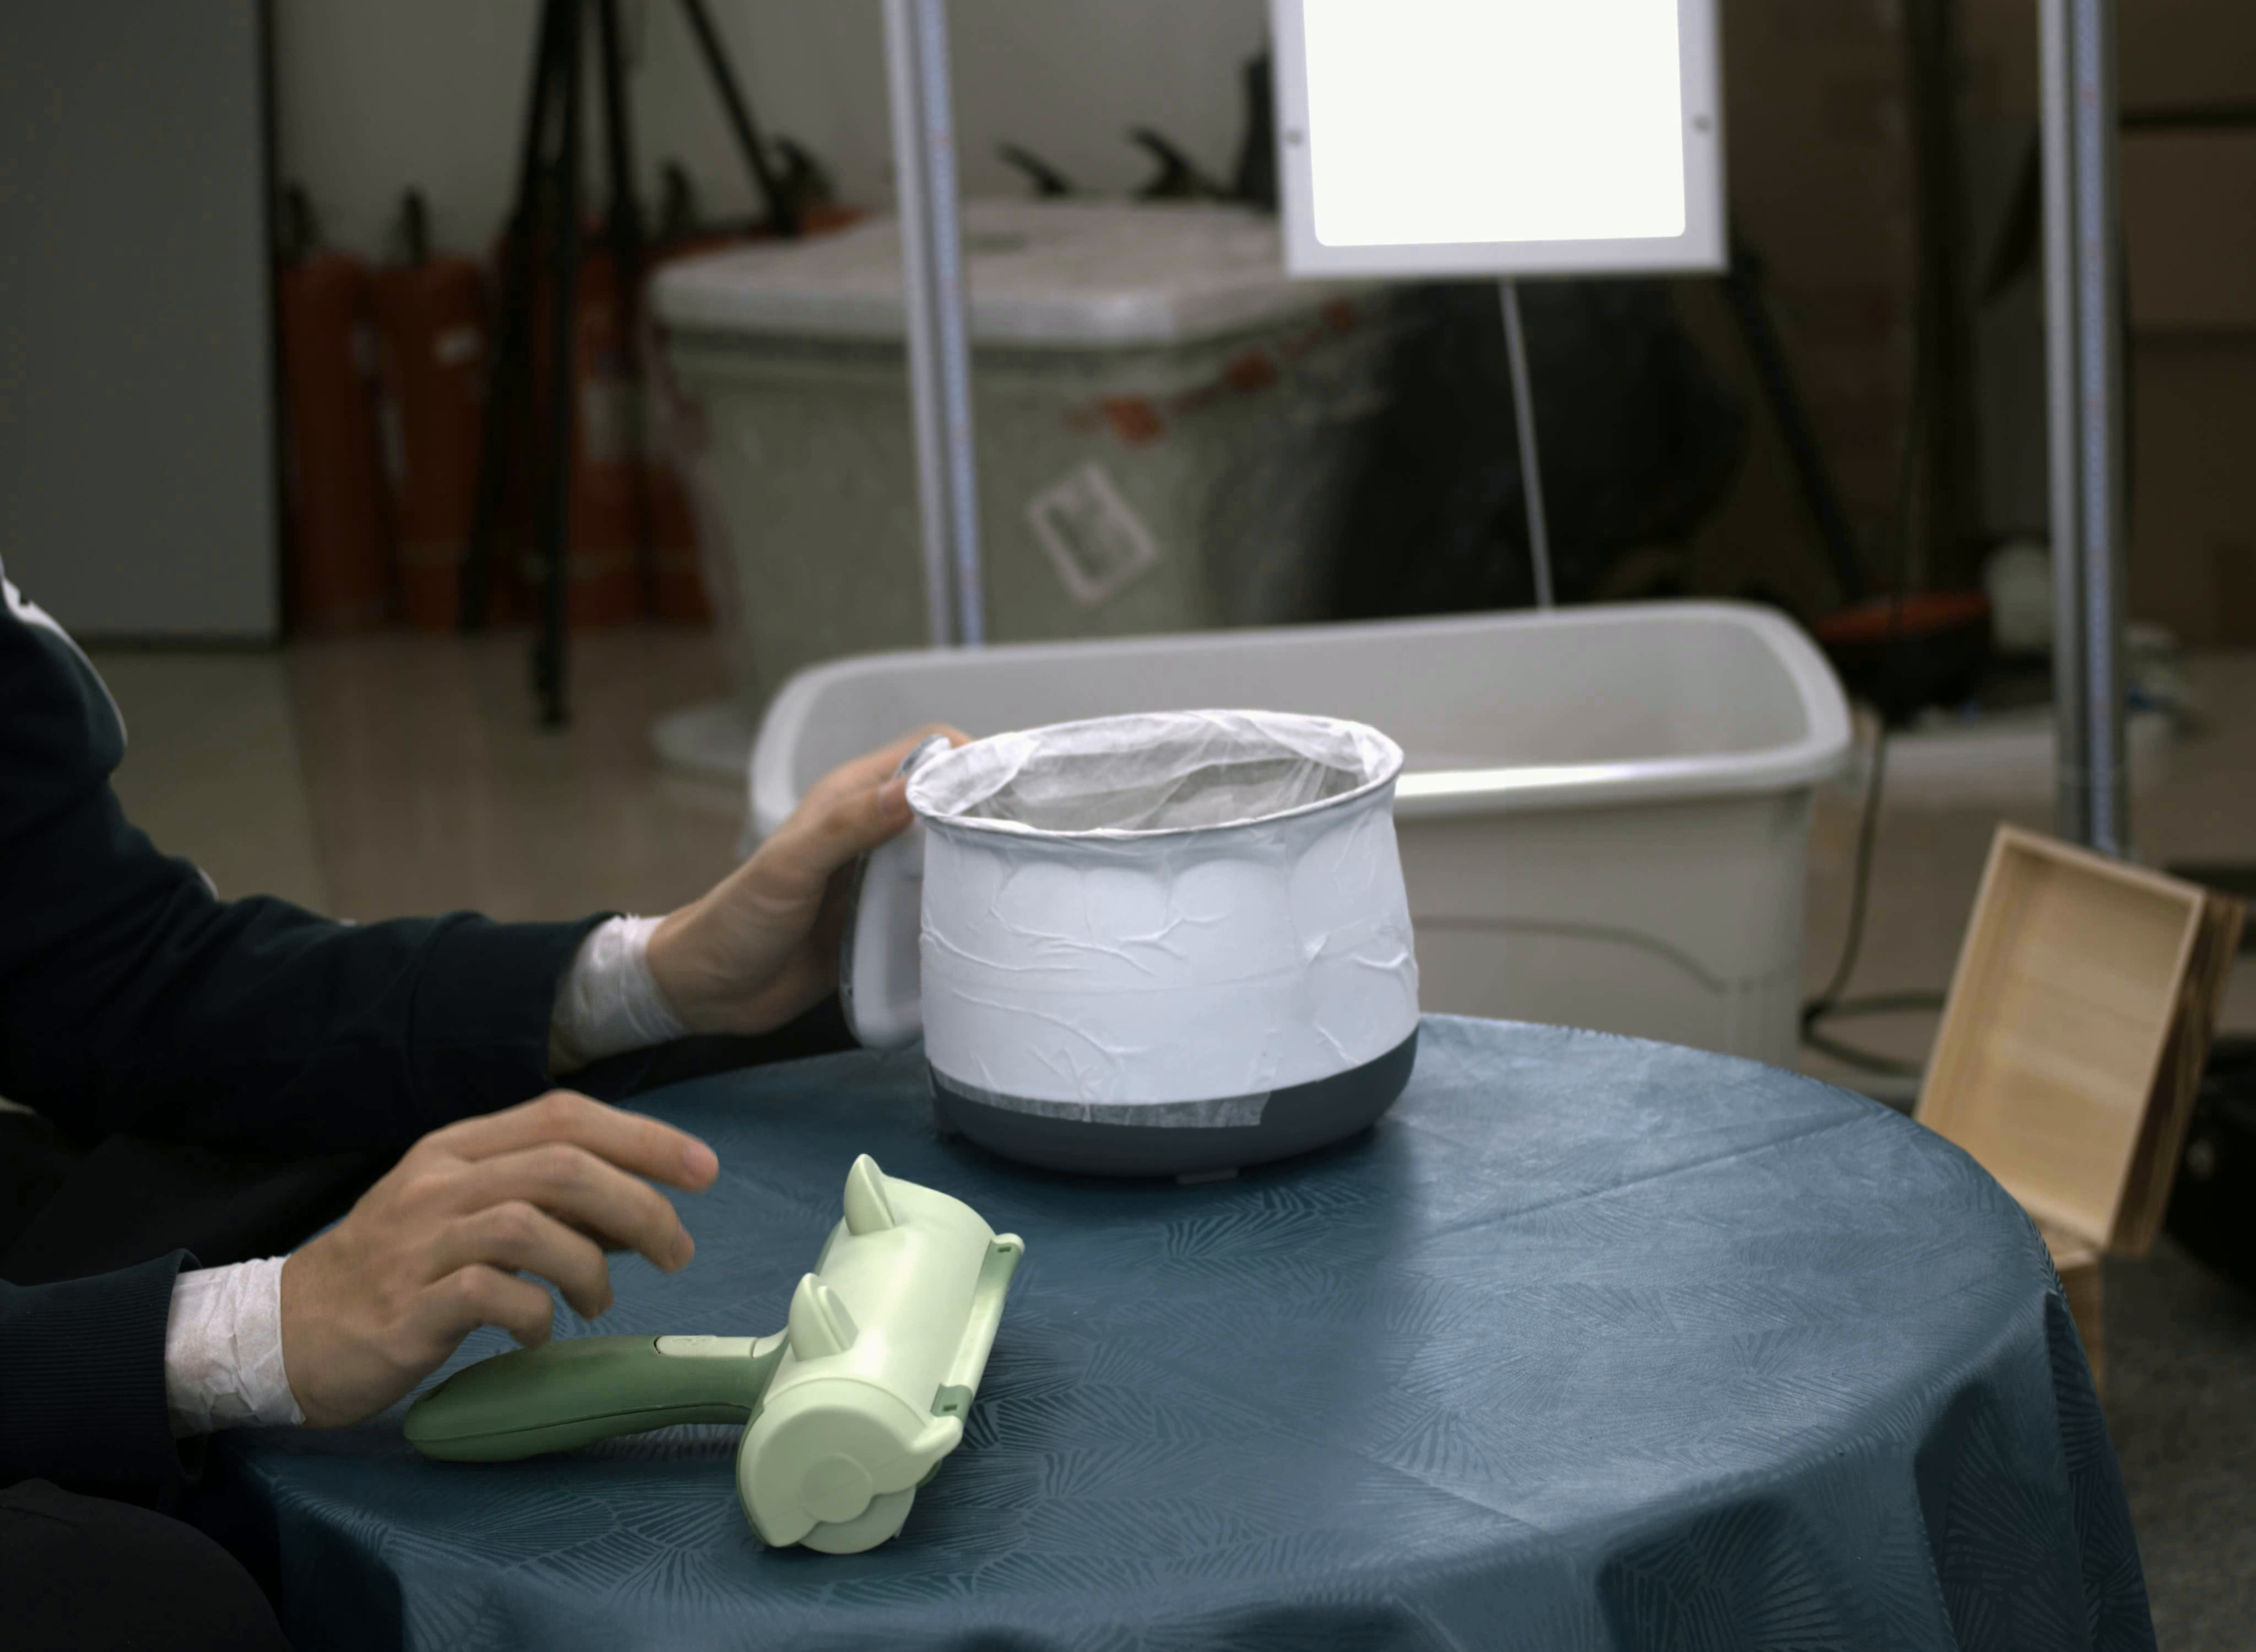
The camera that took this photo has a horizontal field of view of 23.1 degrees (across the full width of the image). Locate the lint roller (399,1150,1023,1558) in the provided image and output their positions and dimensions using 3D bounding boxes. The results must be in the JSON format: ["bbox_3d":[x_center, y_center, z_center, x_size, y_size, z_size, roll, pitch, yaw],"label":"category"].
[{"bbox_3d":[-0.132,0.154,1.674,0.184,0.082,0.197,2,15,6],"label":"lint roller"}]

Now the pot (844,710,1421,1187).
[{"bbox_3d":[-0.008,0.039,1.964,0.238,0.137,0.174,7,17,37],"label":"pot"}]
